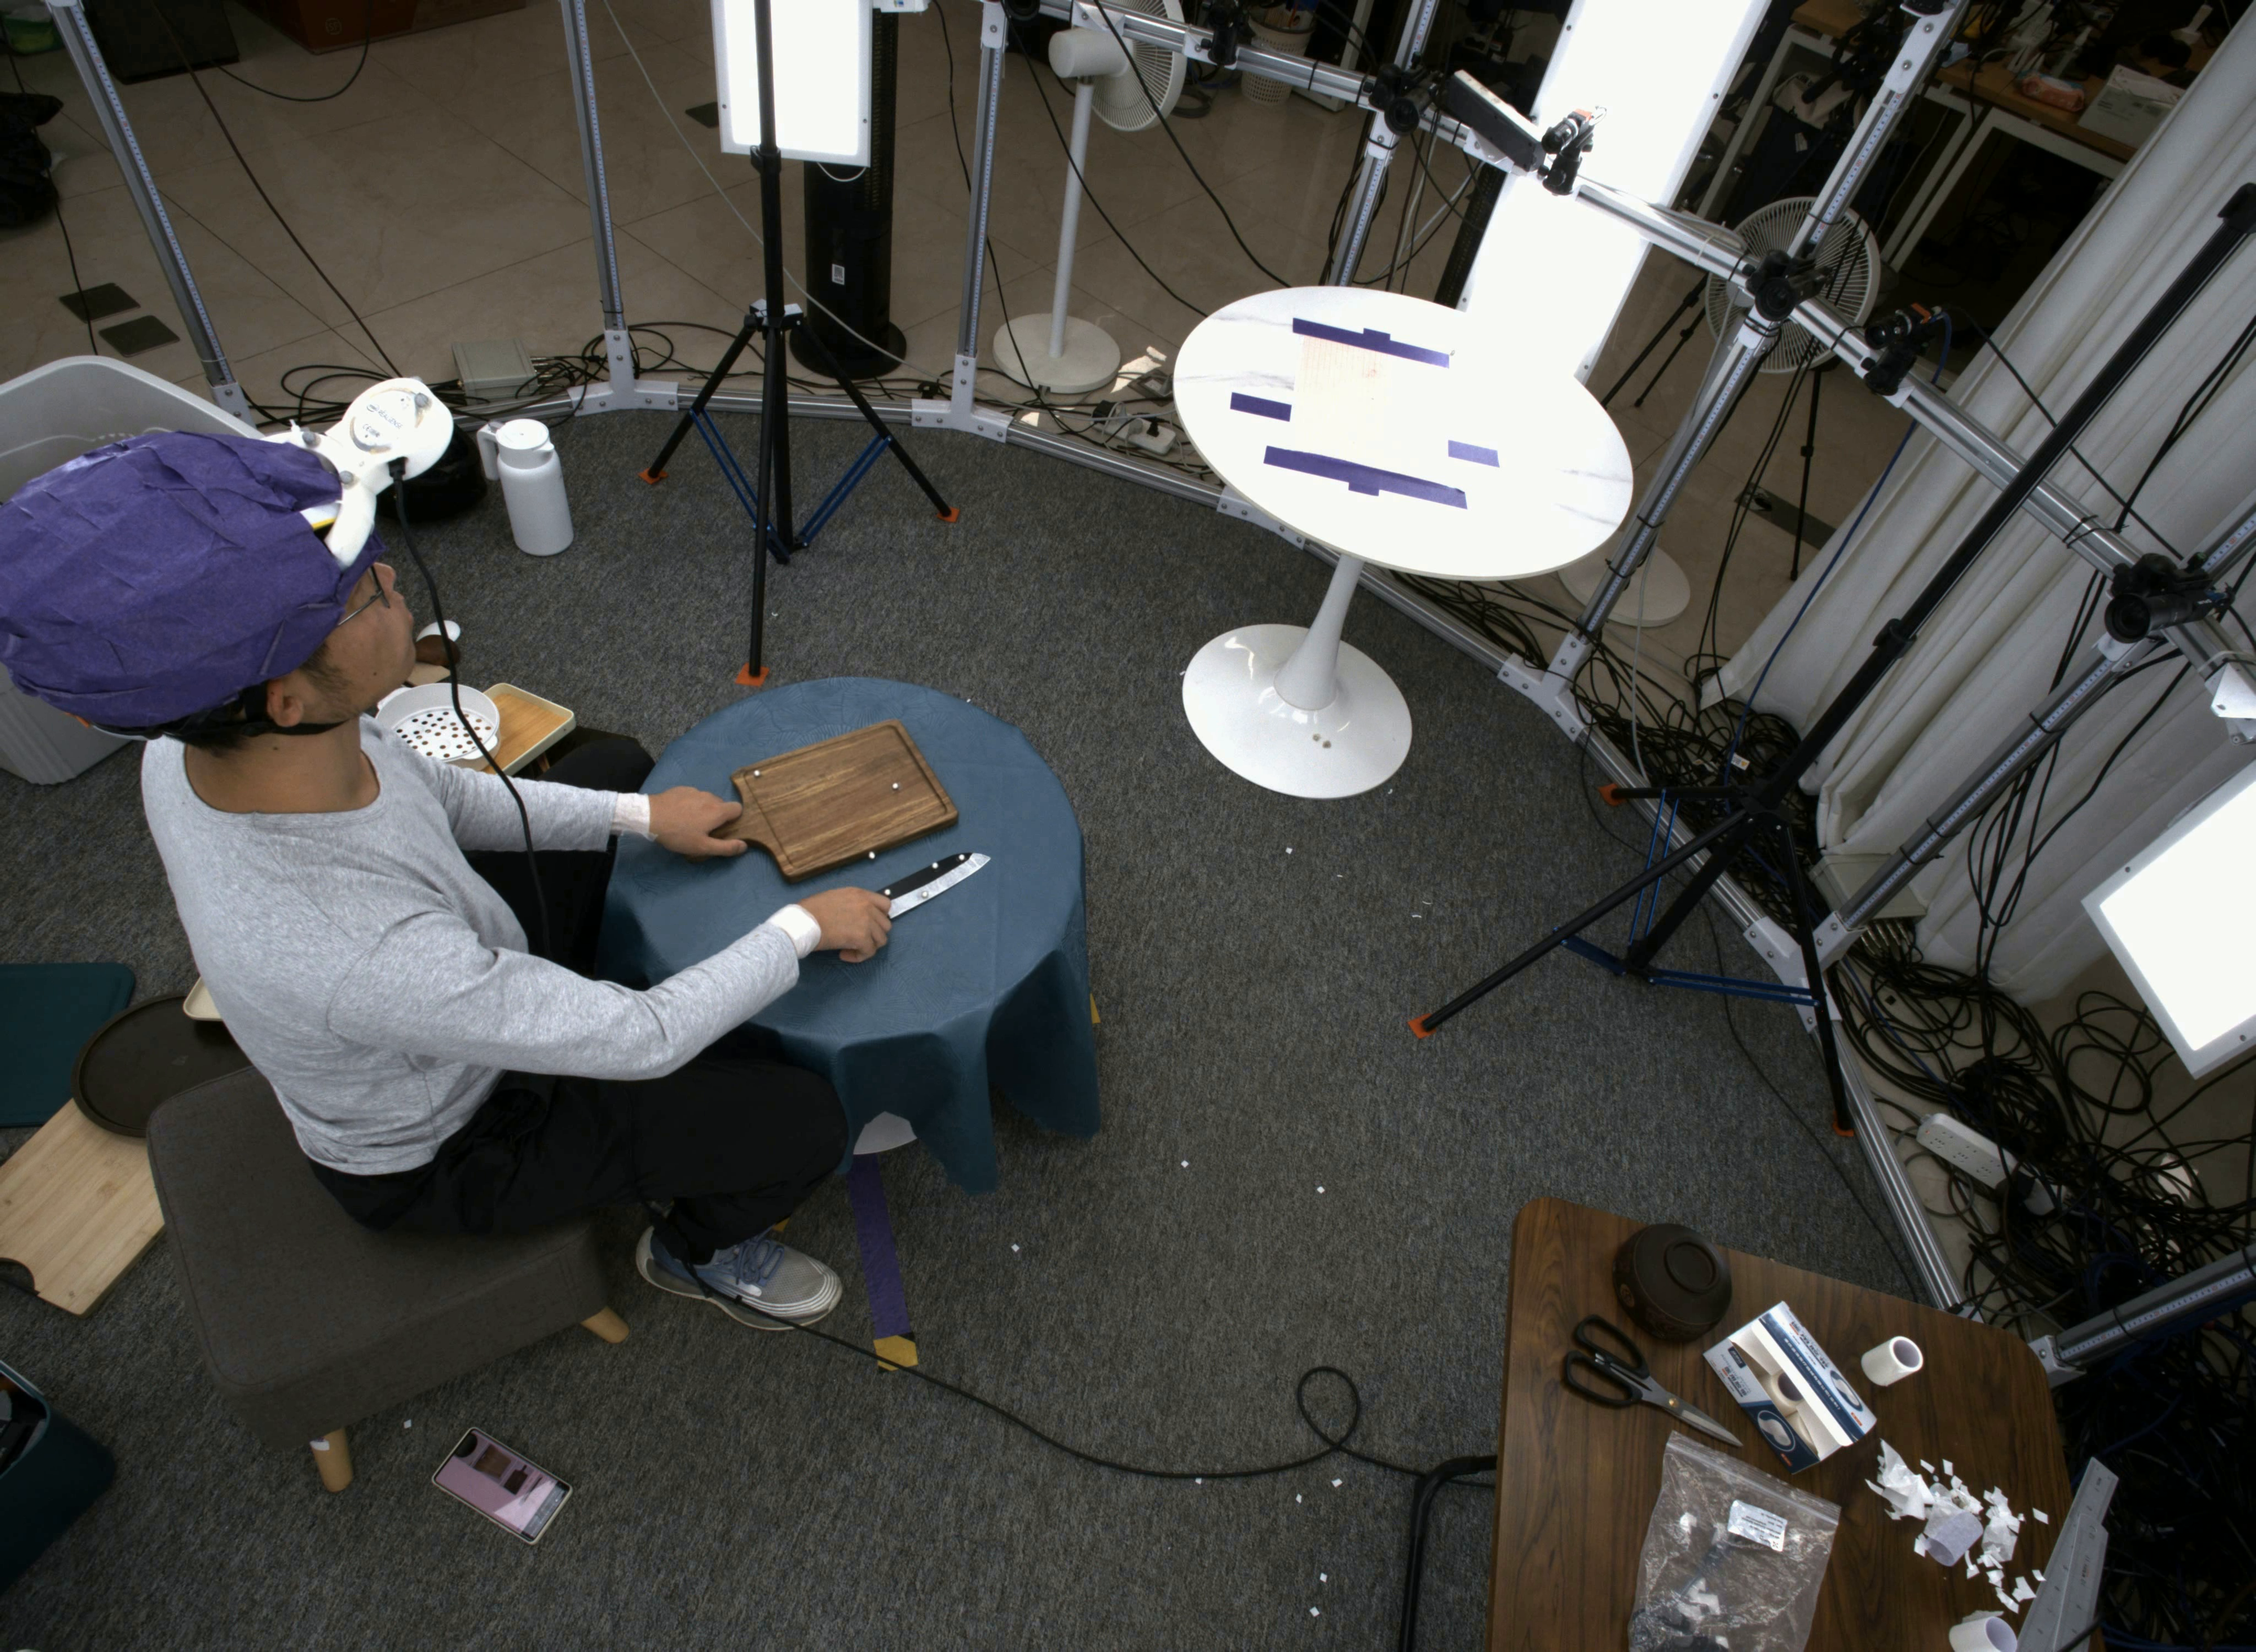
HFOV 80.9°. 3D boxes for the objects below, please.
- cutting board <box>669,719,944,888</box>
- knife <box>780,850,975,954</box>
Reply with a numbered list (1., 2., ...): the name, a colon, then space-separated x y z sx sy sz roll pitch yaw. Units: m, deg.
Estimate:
1. cutting board: -0.444 -0.021 1.733 0.354 0.023 0.196 -23 62 -28
2. knife: -0.318 0.093 1.684 0.290 0.020 0.049 -27 68 -32
